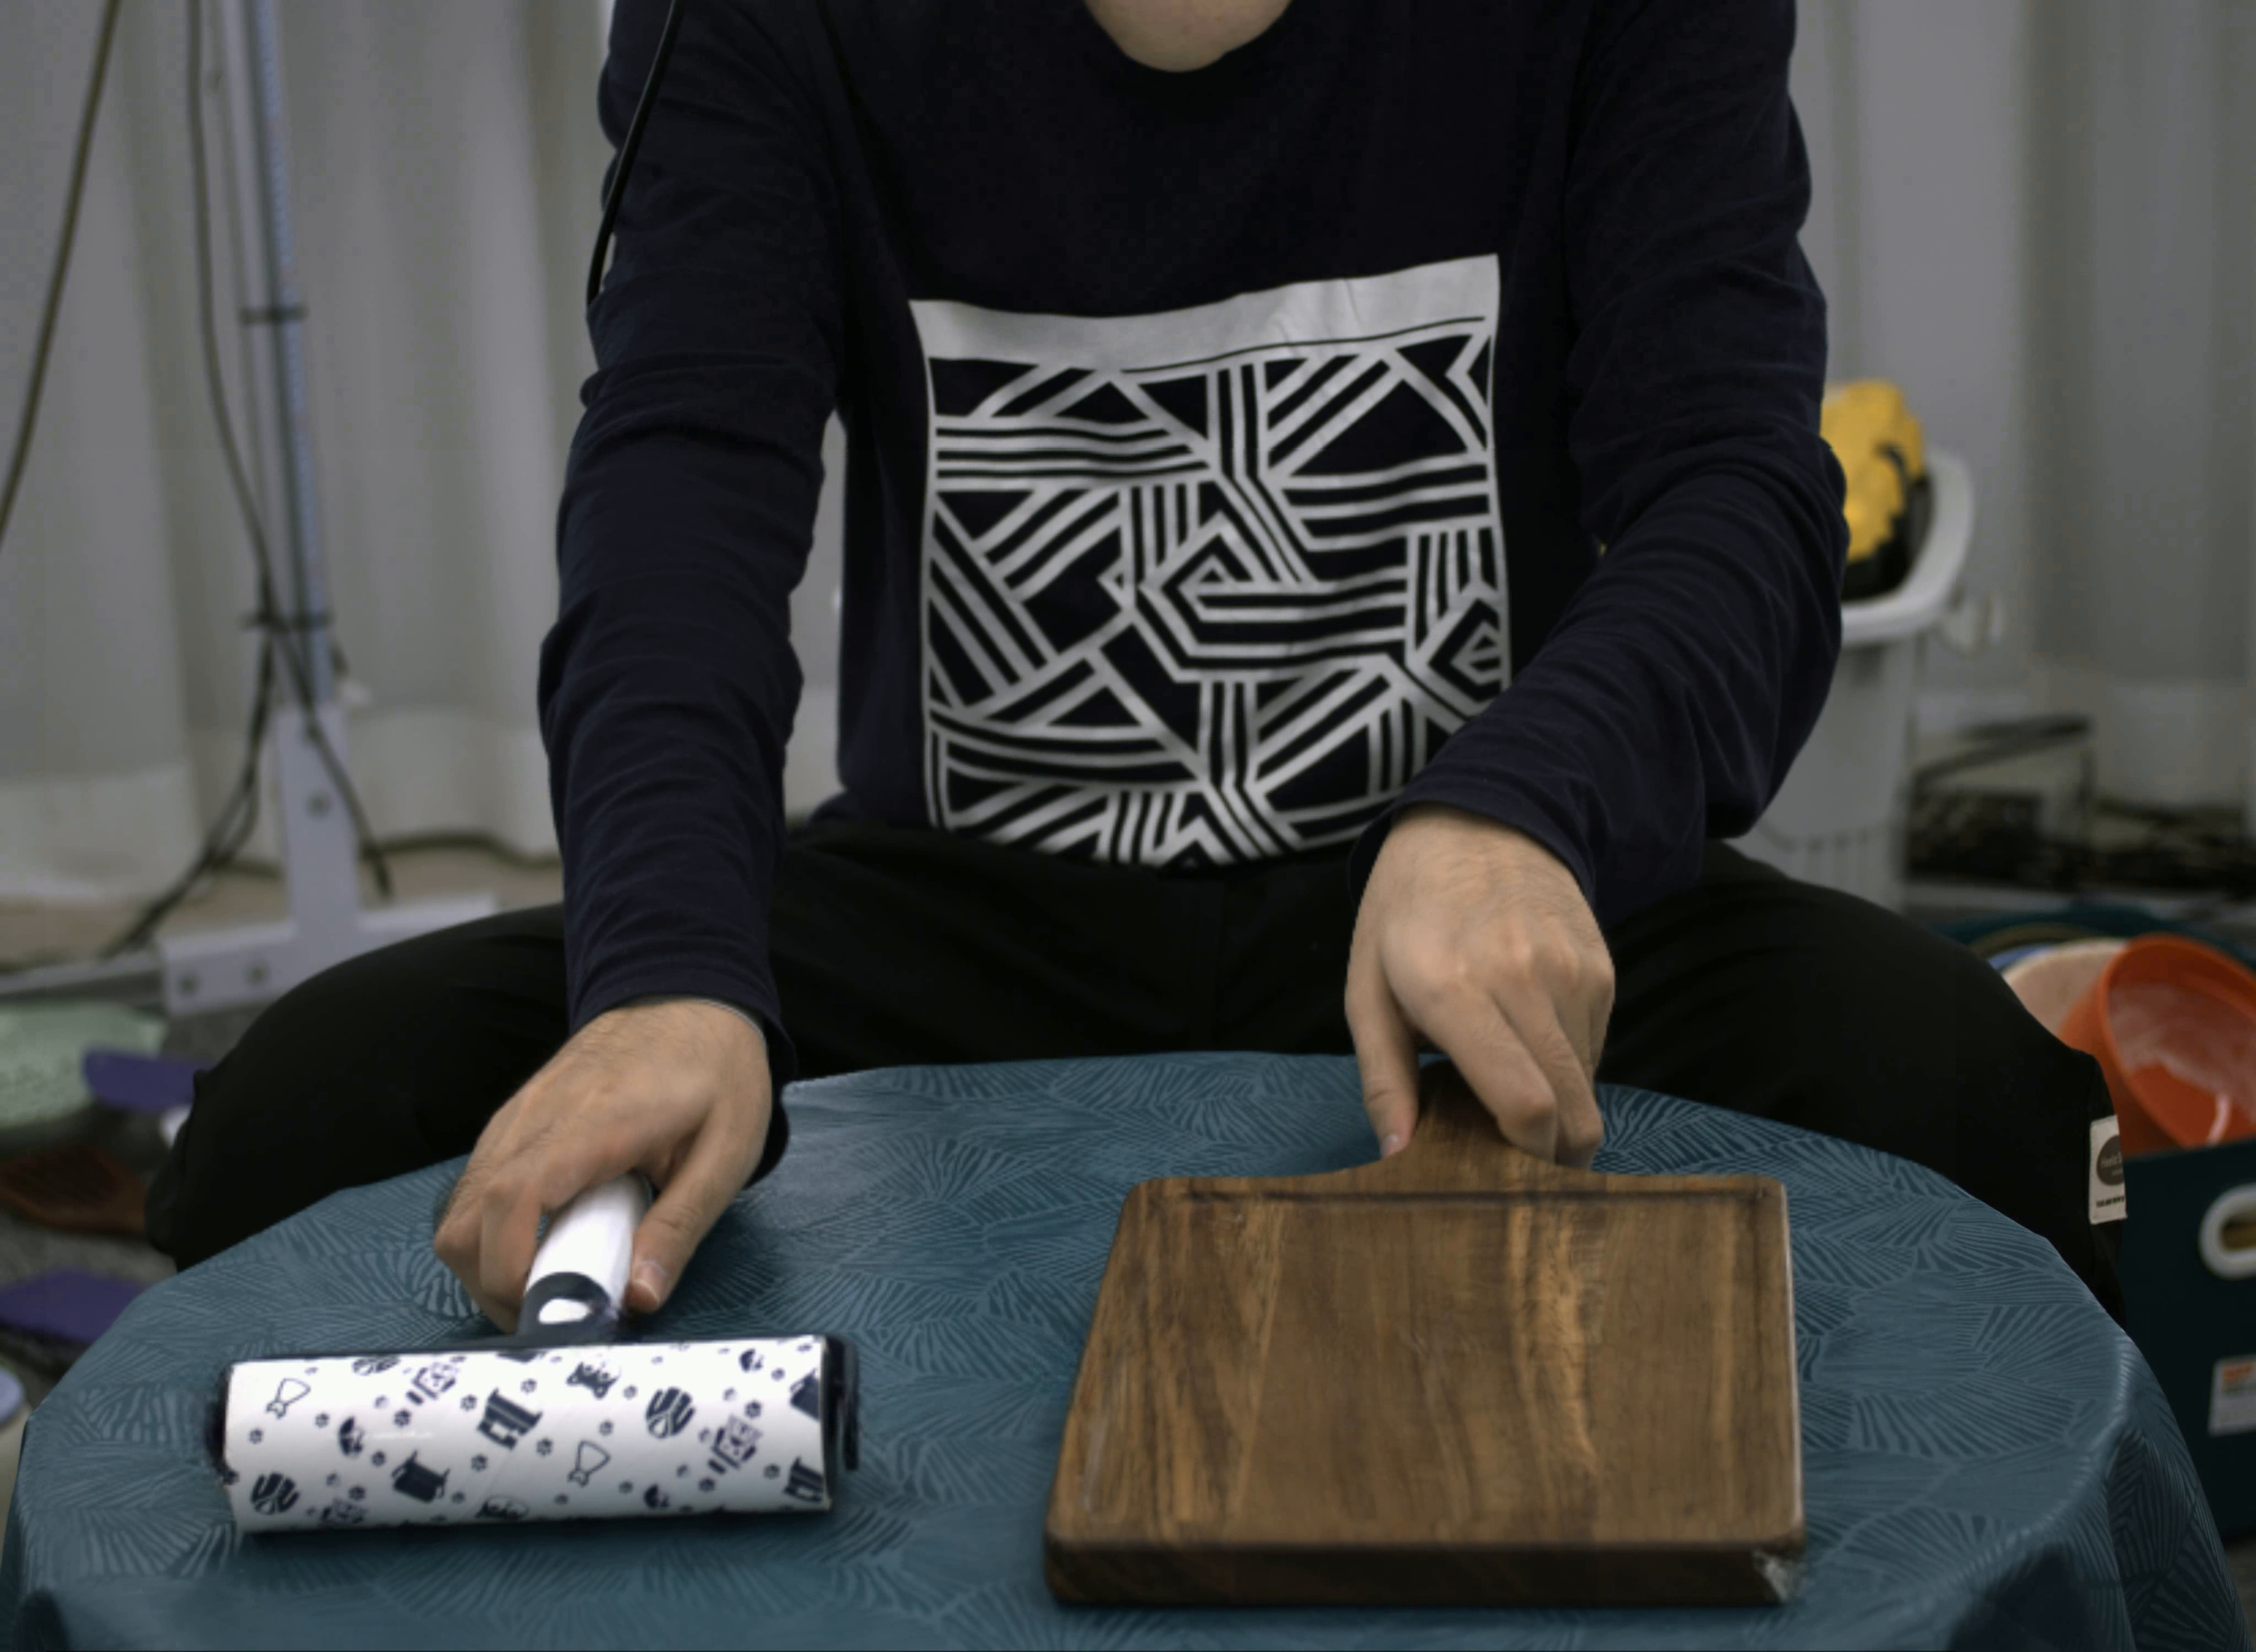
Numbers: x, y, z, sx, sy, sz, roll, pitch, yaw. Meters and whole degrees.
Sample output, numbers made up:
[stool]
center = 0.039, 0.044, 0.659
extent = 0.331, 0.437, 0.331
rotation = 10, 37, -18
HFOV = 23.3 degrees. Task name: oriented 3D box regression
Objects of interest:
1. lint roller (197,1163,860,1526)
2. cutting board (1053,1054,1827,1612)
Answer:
[lint roller]
center = -0.161, 0.136, 1.568
extent = 0.176, 0.050, 0.249
rotation = -4, 15, 1
[cutting board]
center = 0.089, 0.136, 1.546
extent = 0.200, 0.023, 0.355
rotation = 0, 18, 5
